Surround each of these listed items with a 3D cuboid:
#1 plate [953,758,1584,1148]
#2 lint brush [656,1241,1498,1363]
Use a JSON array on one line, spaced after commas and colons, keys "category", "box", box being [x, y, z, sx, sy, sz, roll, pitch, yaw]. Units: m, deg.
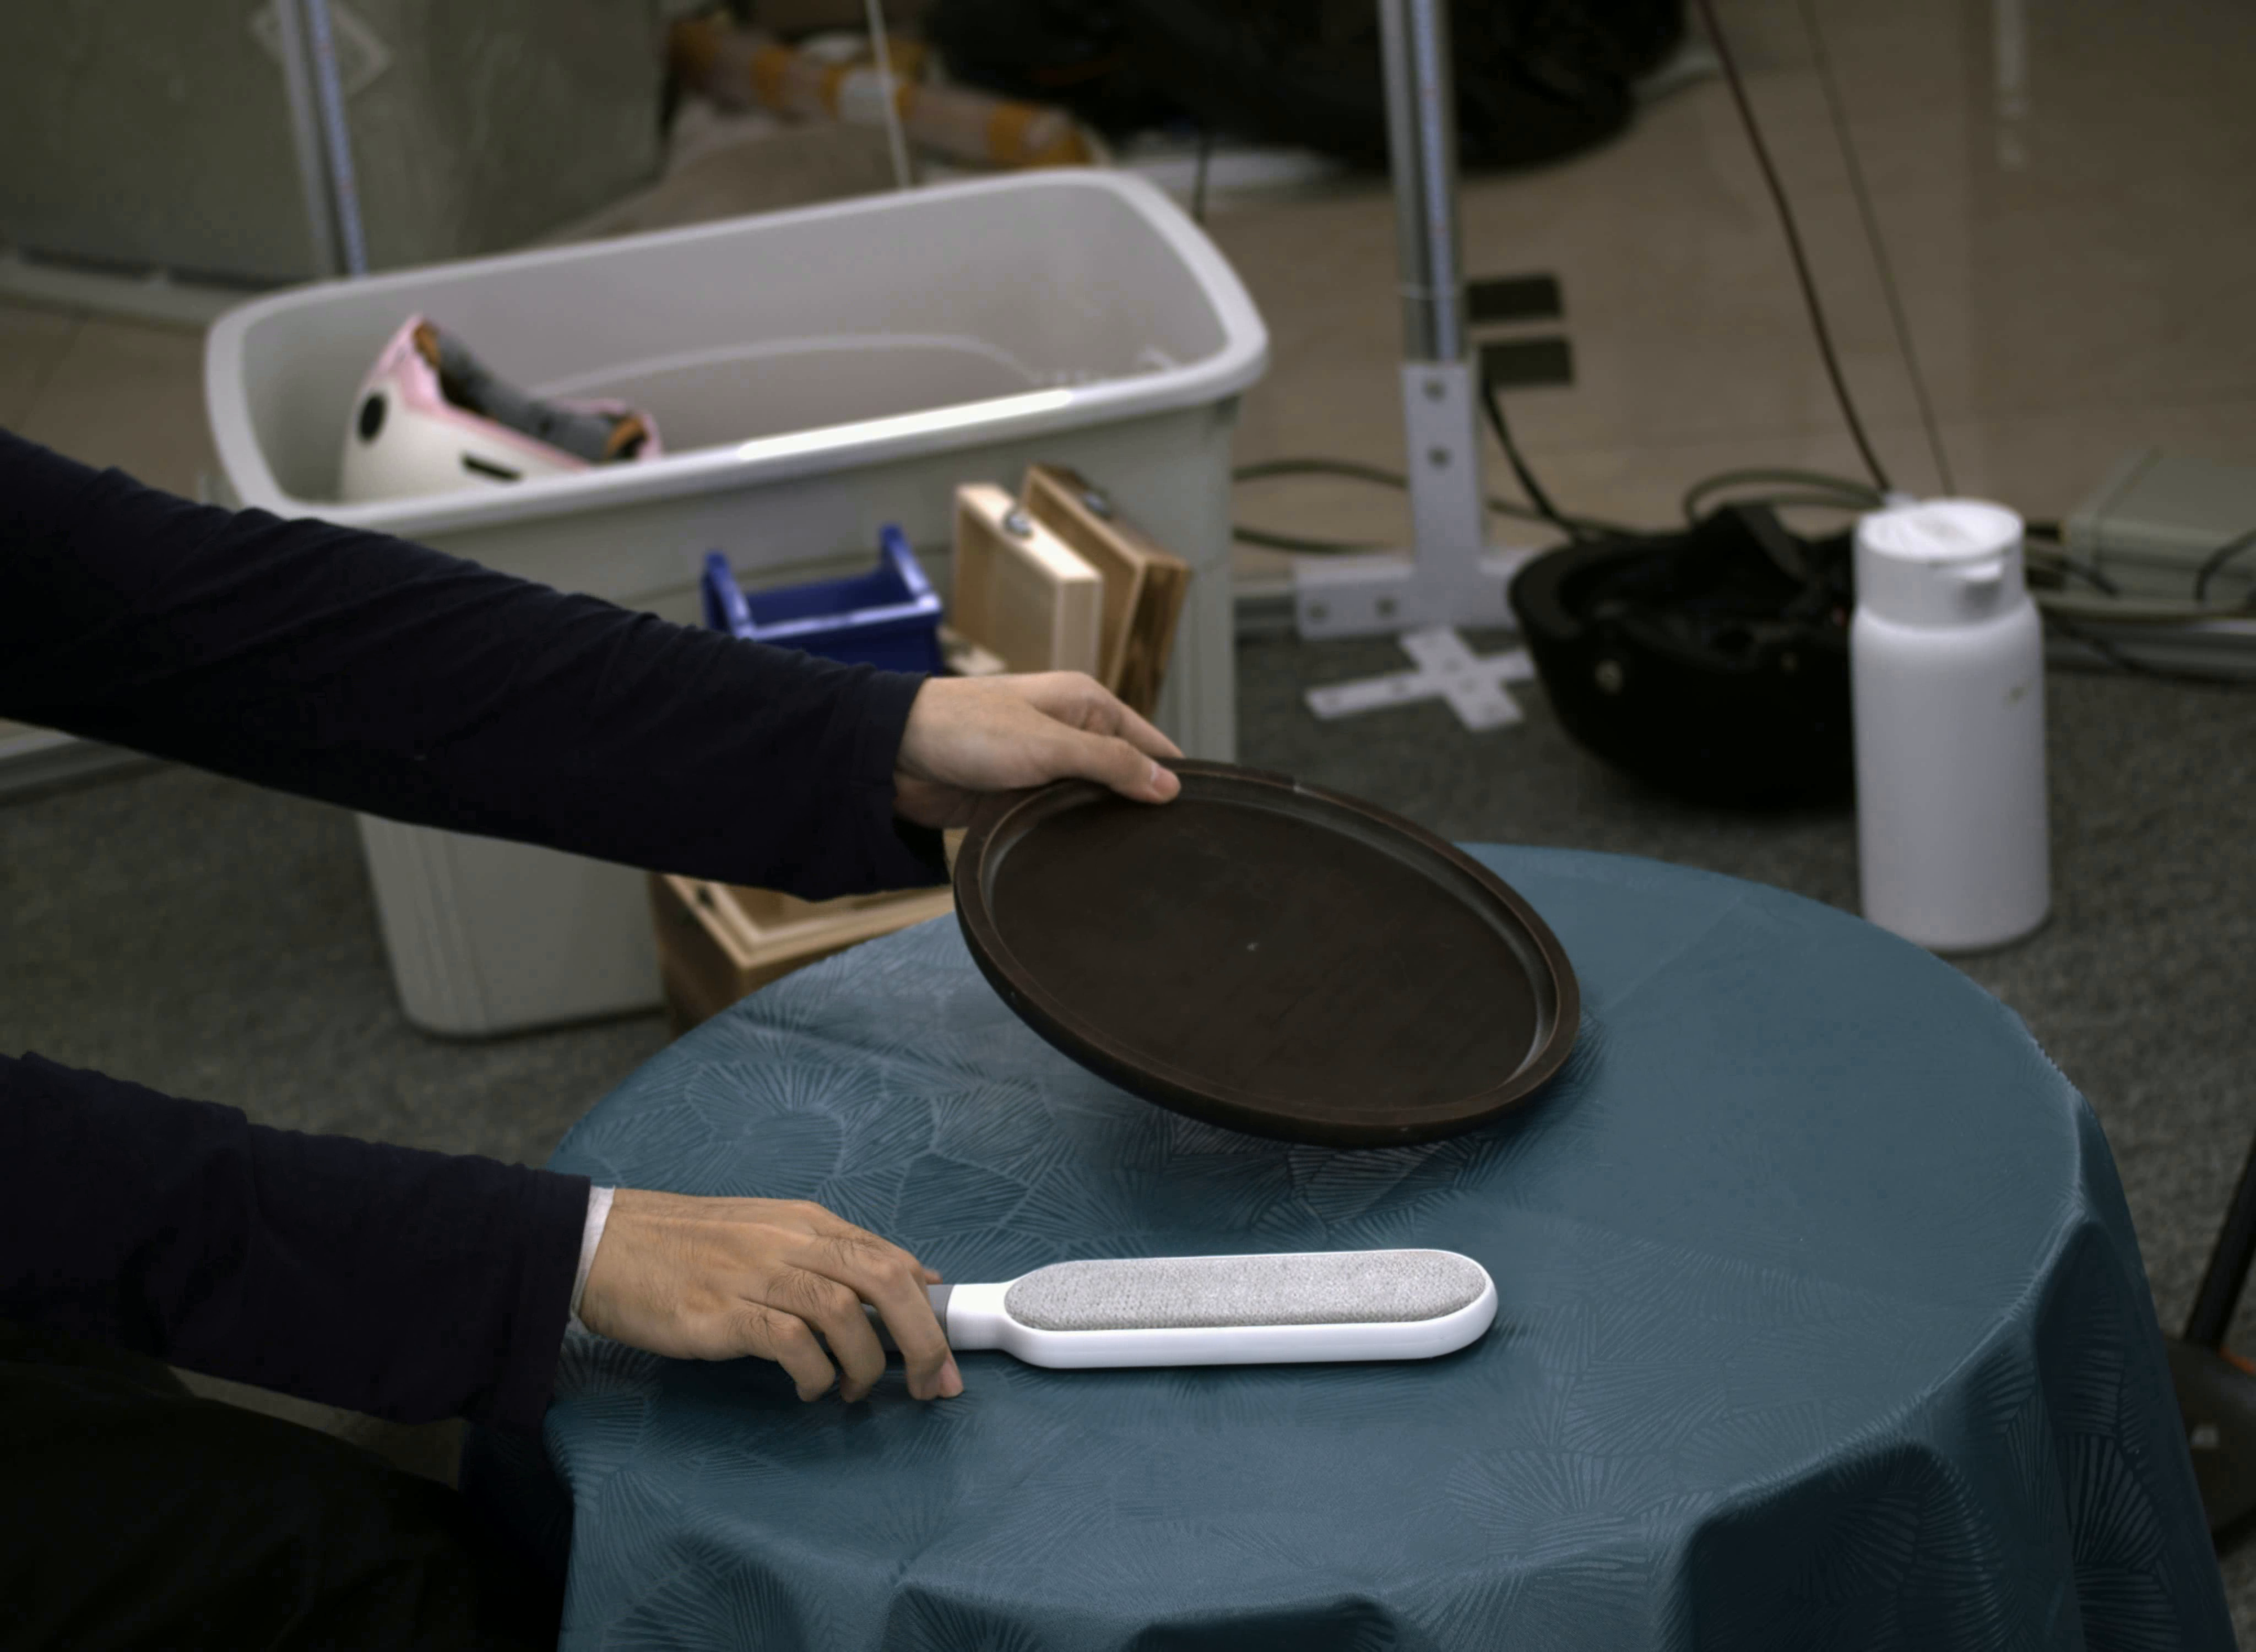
[{"category": "plate", "box": [0.054, 0.049, 2.211, 0.255, 0.029, 0.250, 13, 29, -7]}, {"category": "lint brush", "box": [-0.021, 0.173, 2.051, 0.308, 0.021, 0.059, -2, 31, 10]}]
